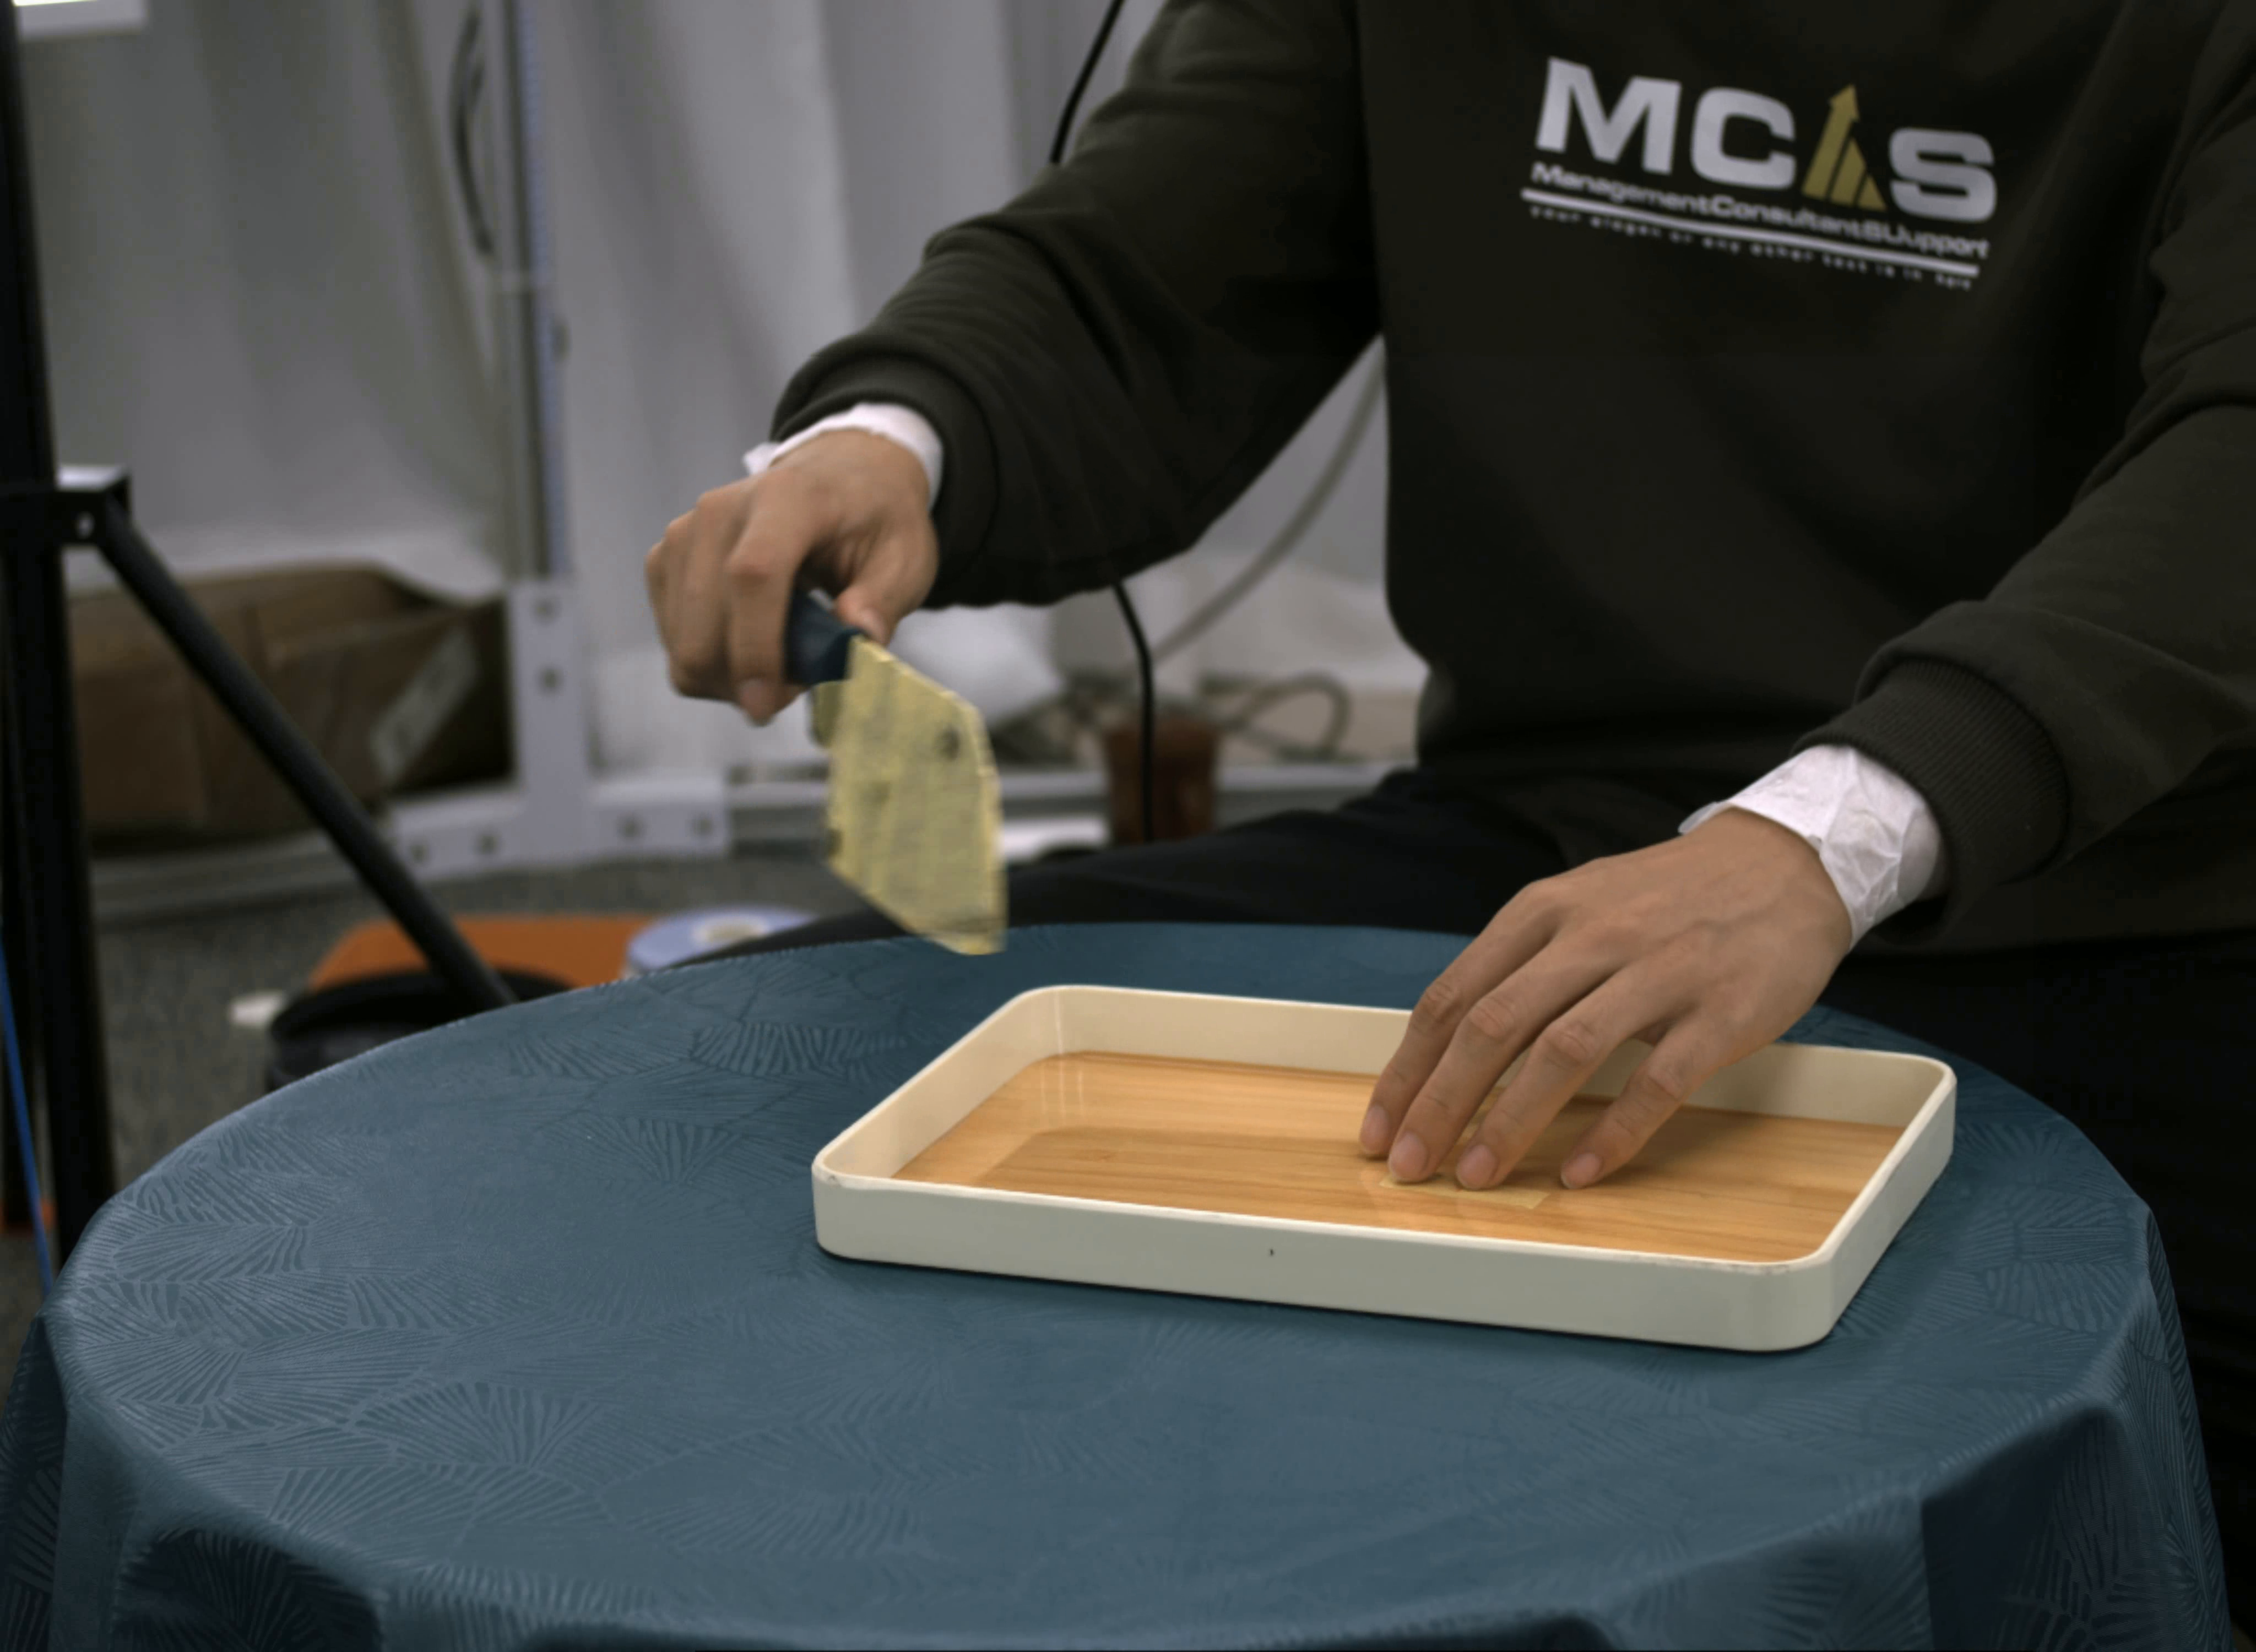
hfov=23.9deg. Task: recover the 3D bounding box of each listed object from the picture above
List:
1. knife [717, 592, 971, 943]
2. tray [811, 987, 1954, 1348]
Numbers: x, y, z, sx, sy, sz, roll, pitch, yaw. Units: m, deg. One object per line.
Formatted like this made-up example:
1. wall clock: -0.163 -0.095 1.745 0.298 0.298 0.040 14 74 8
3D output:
1. knife: -0.086 -0.022 1.616 0.027 0.081 0.294 8 12 -19
2. tray: 0.077 0.096 1.543 0.304 0.027 0.189 5 16 22
